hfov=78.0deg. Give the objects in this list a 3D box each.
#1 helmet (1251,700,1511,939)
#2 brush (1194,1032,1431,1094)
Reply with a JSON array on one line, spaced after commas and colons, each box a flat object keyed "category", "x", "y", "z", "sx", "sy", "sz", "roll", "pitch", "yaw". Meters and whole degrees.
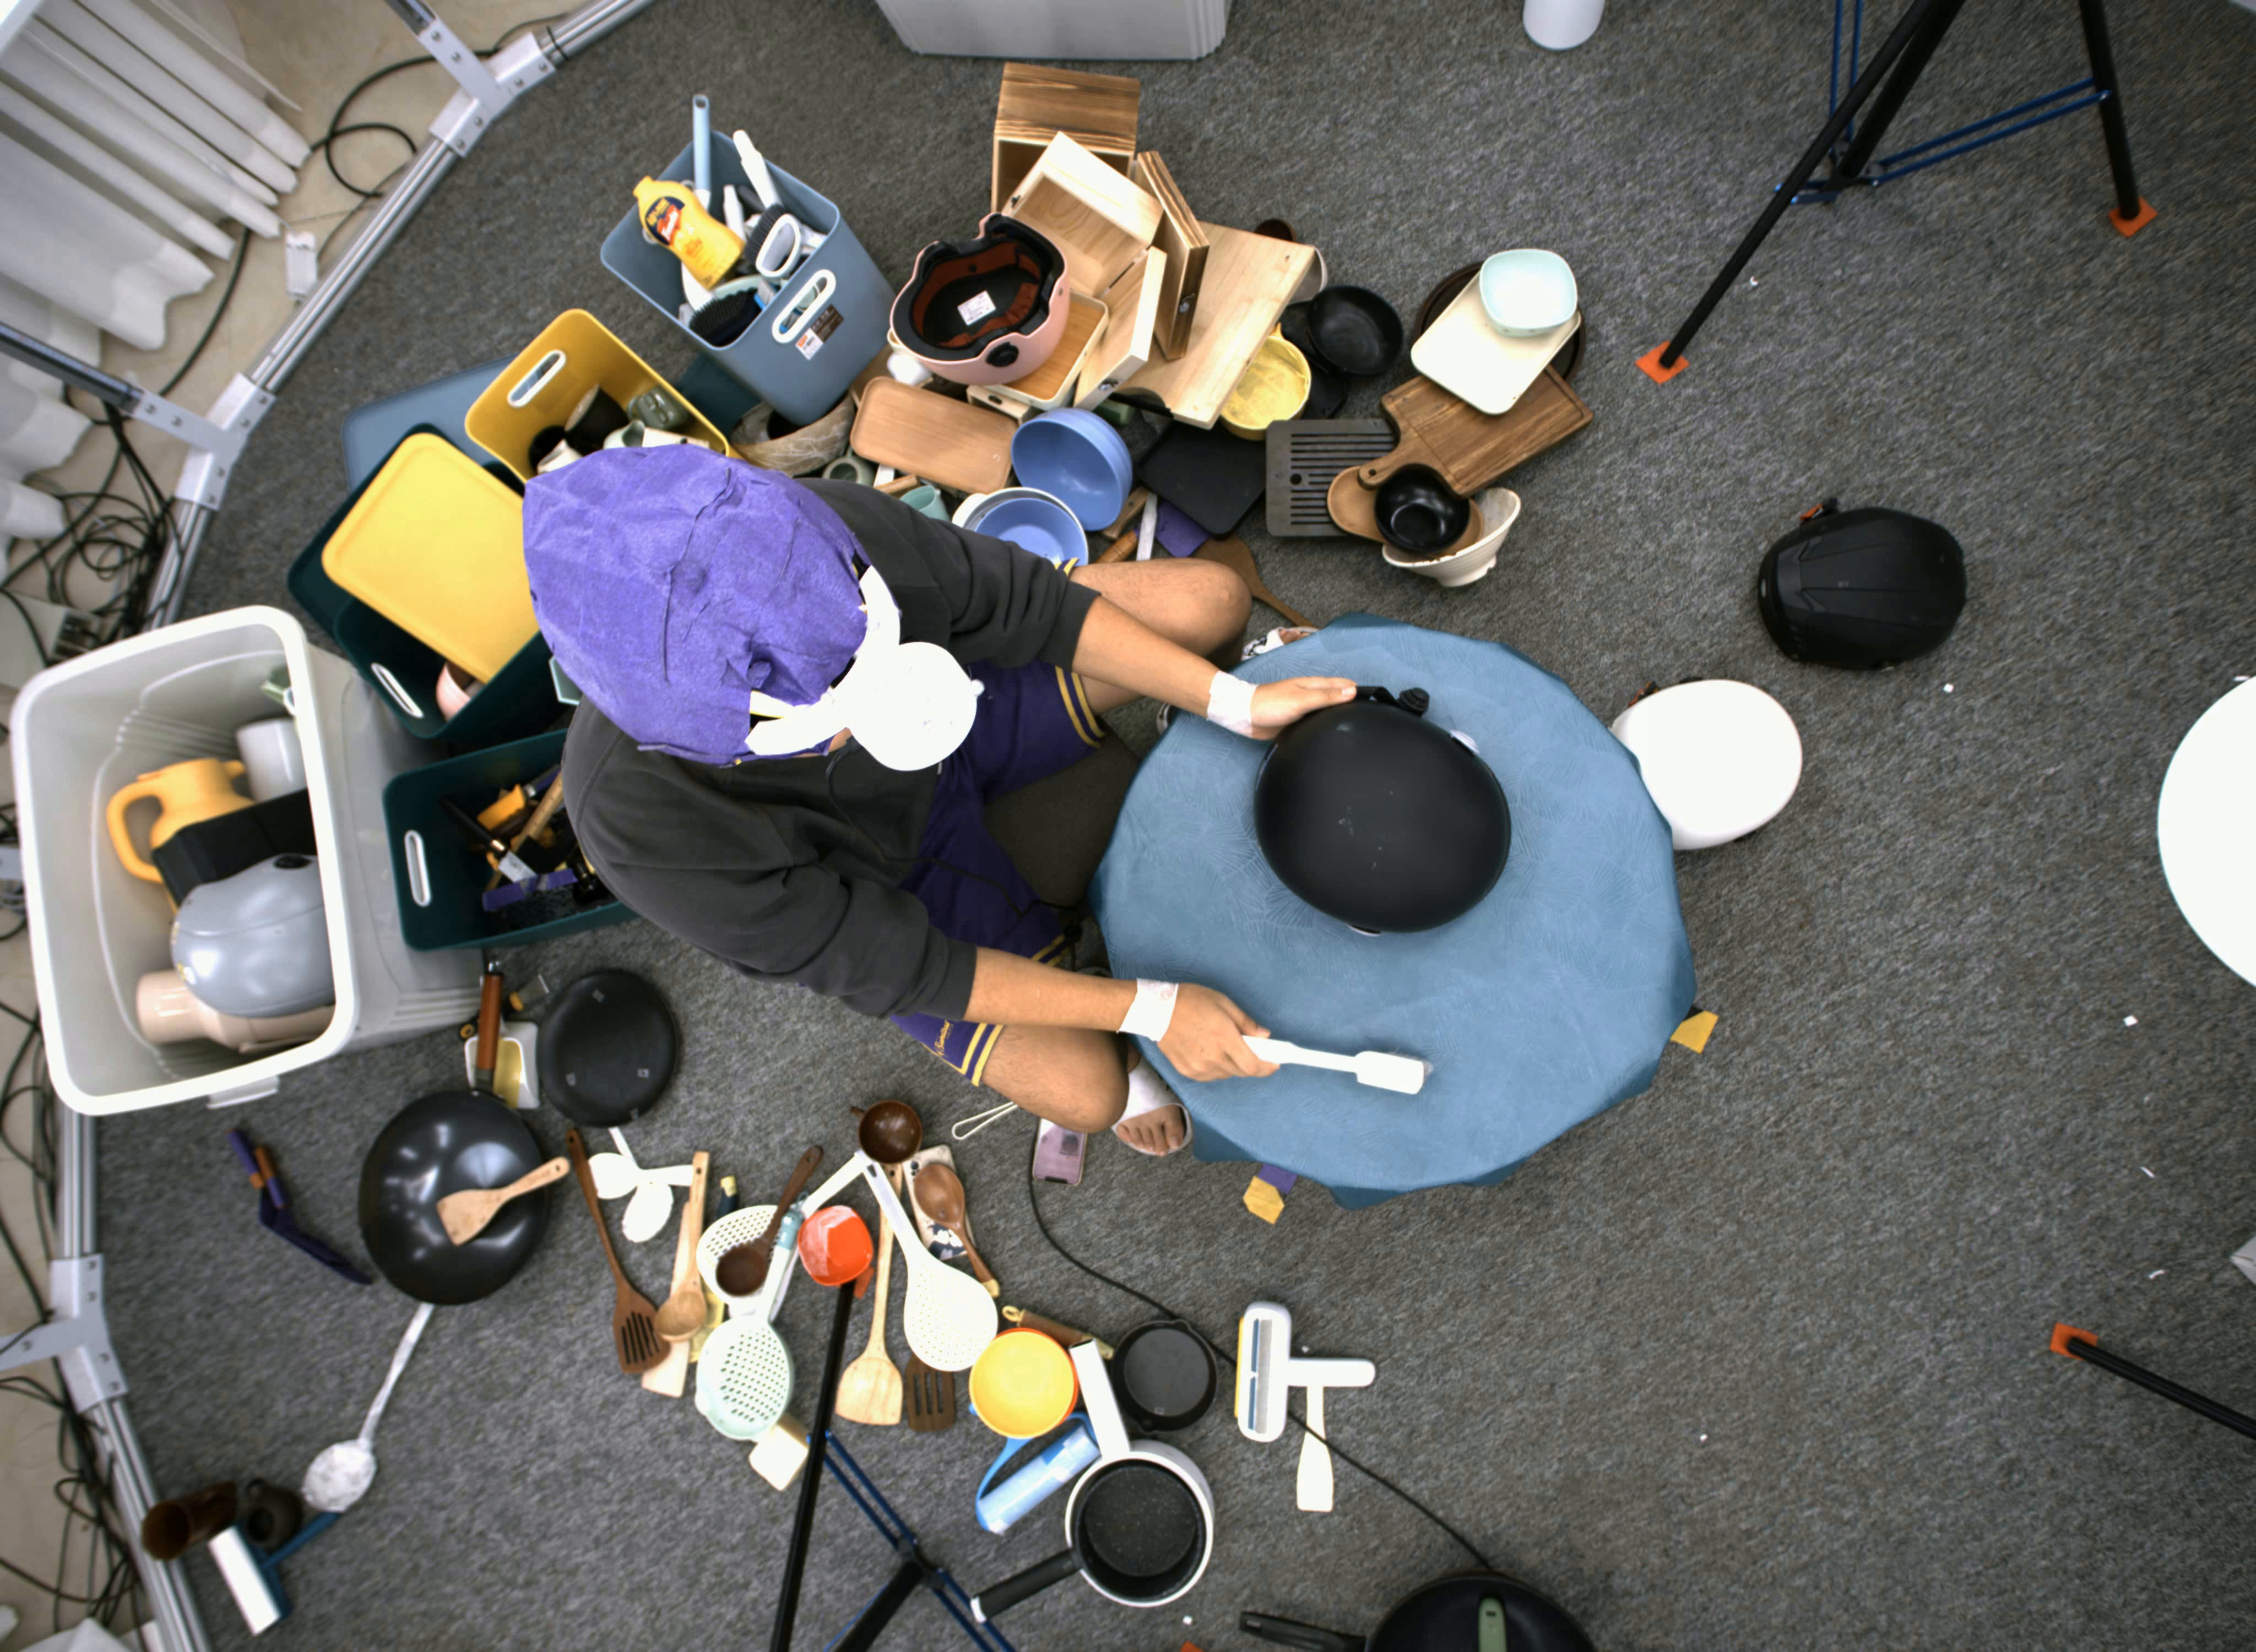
[{"category": "helmet", "x": 0.247, "y": -0.002, "z": 1.378, "sx": 0.272, "sy": 0.165, "sz": 0.233, "roll": 31, "pitch": 106, "yaw": 9}, {"category": "brush", "x": 0.190, "y": 0.240, "z": 1.433, "sx": 0.244, "sy": 0.050, "sz": 0.034, "roll": 7, "pitch": 90, "yaw": 13}]
